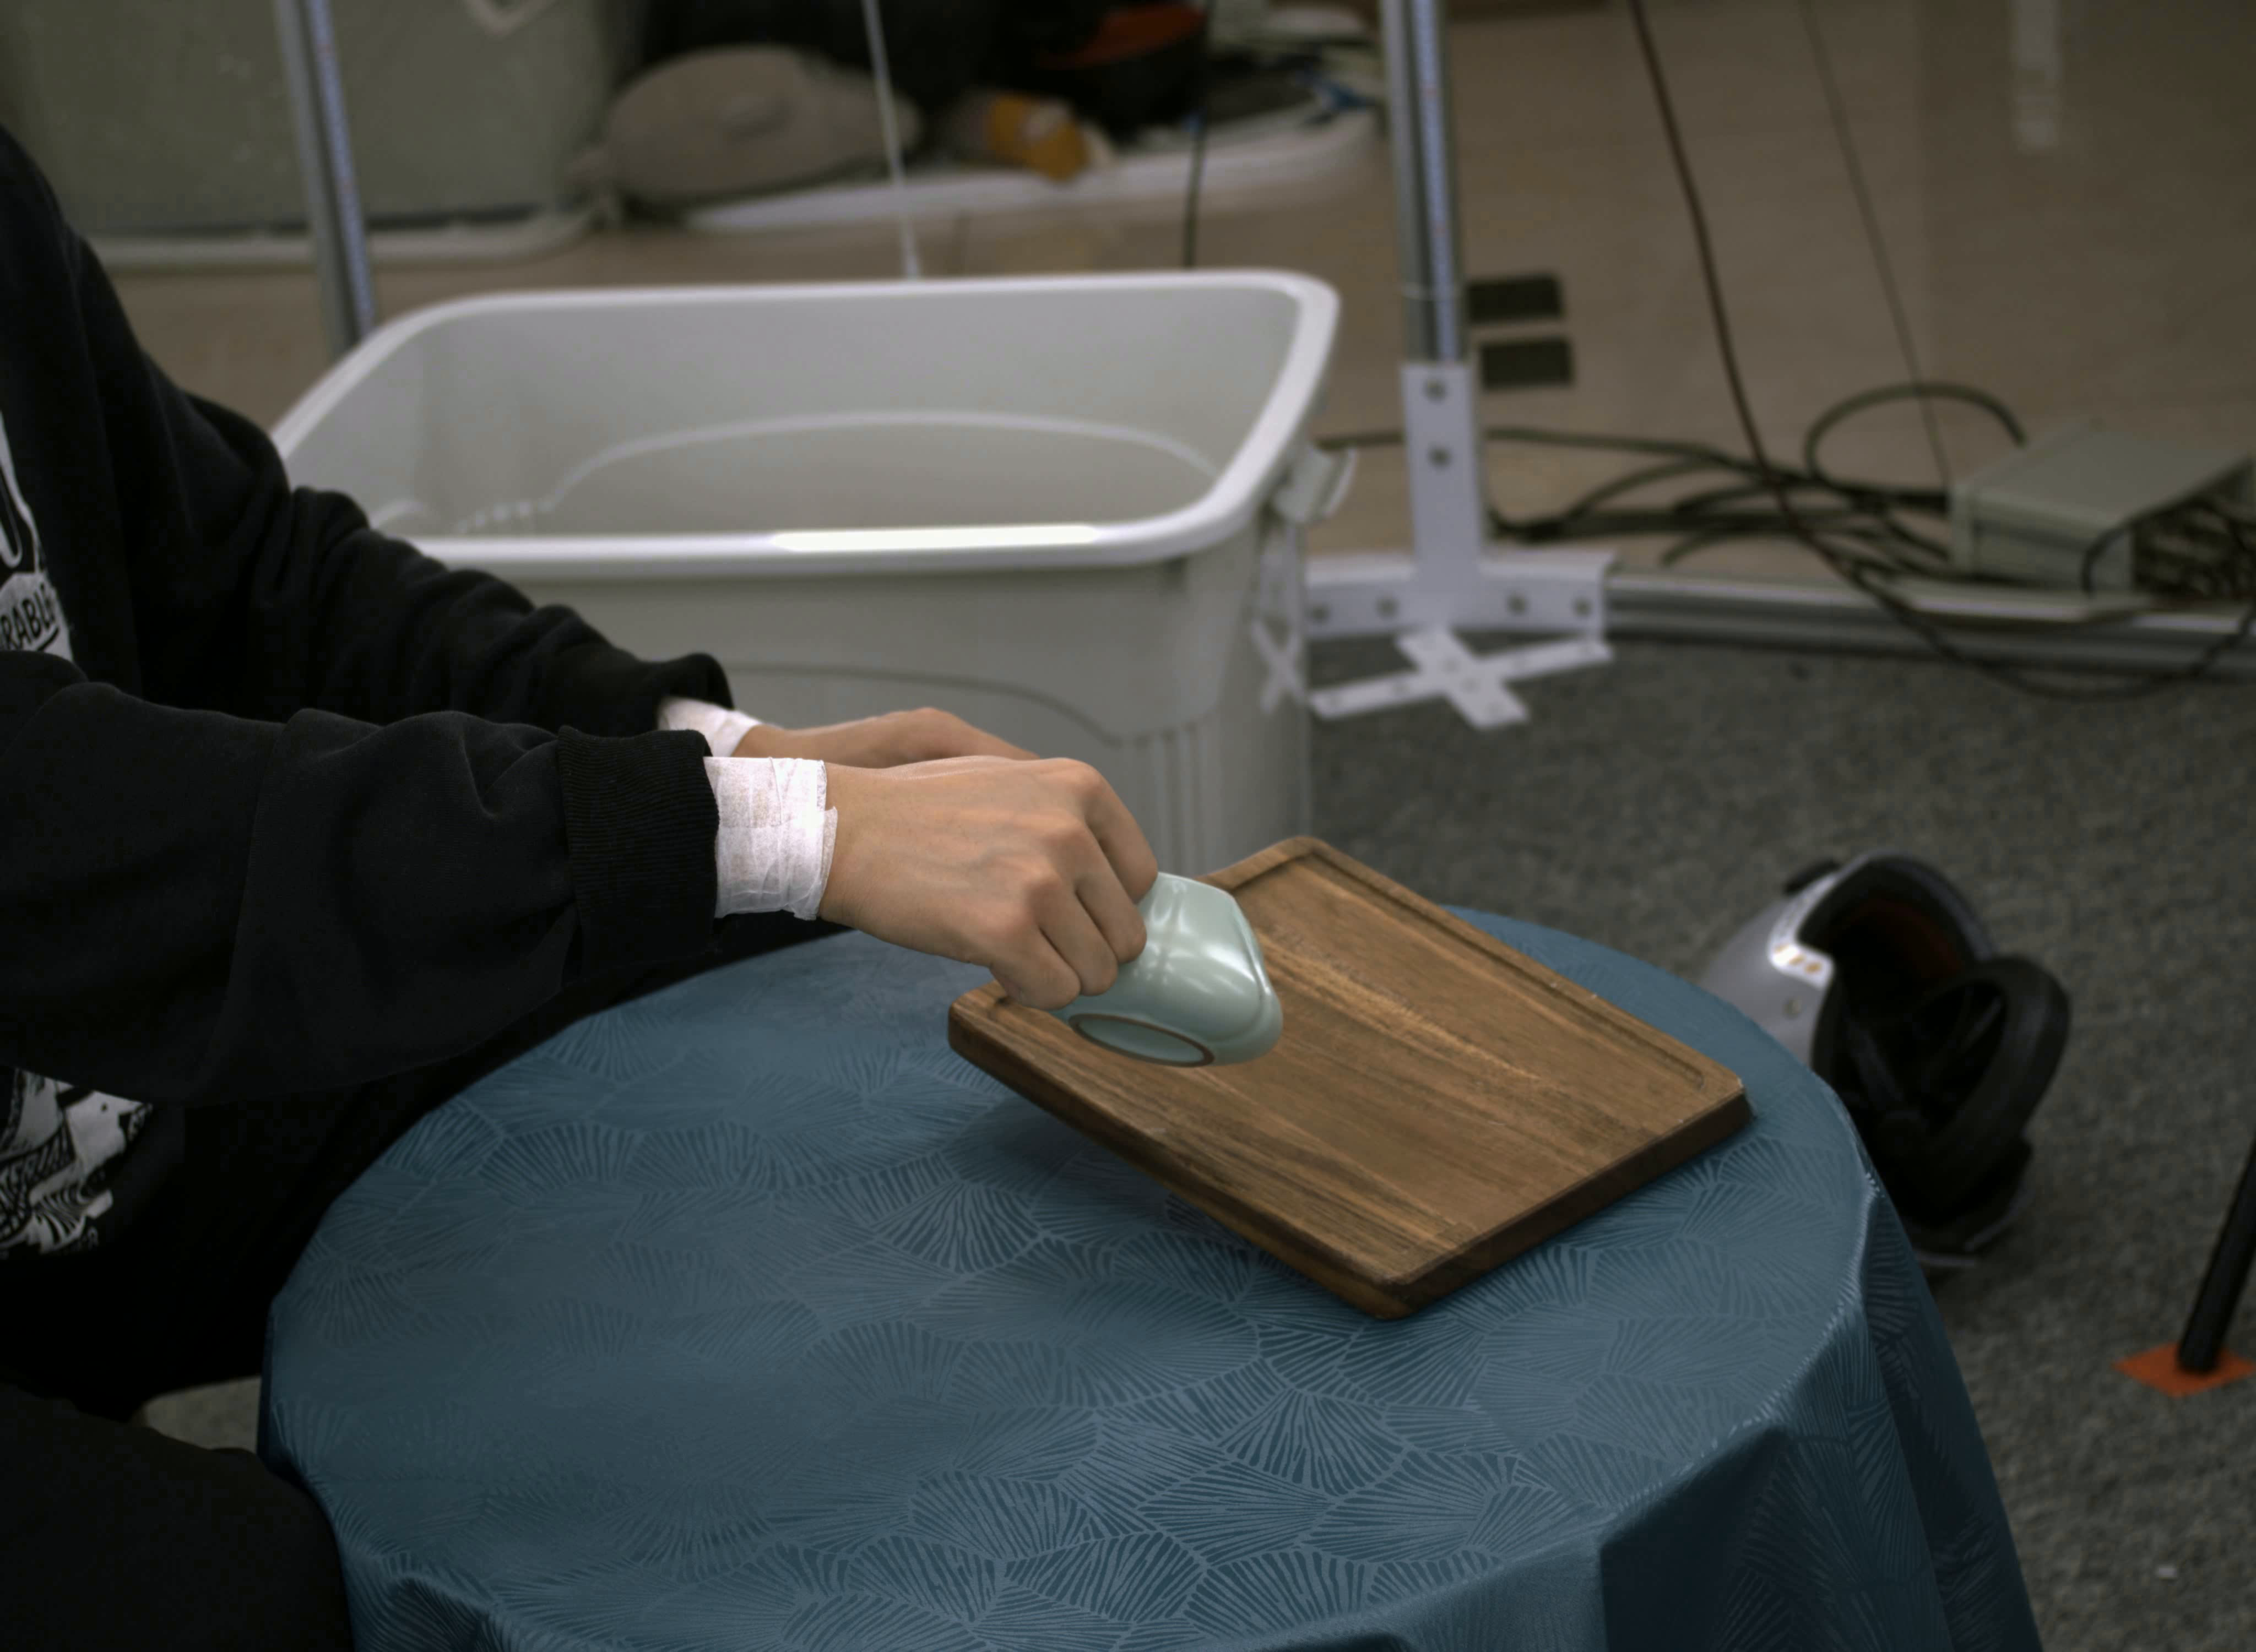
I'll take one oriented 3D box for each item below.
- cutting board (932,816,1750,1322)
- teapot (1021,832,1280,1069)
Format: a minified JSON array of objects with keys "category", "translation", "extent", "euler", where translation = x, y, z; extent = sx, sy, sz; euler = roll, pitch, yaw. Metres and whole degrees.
[{"category":"cutting board","translation":[0.049,0.072,2.193],"extent":[0.199,0.023,0.348],"euler":[-26,41,-36]},{"category":"teapot","translation":[0.010,0.049,2.054],"extent":[0.096,0.138,0.061],"euler":[8,73,30]}]
